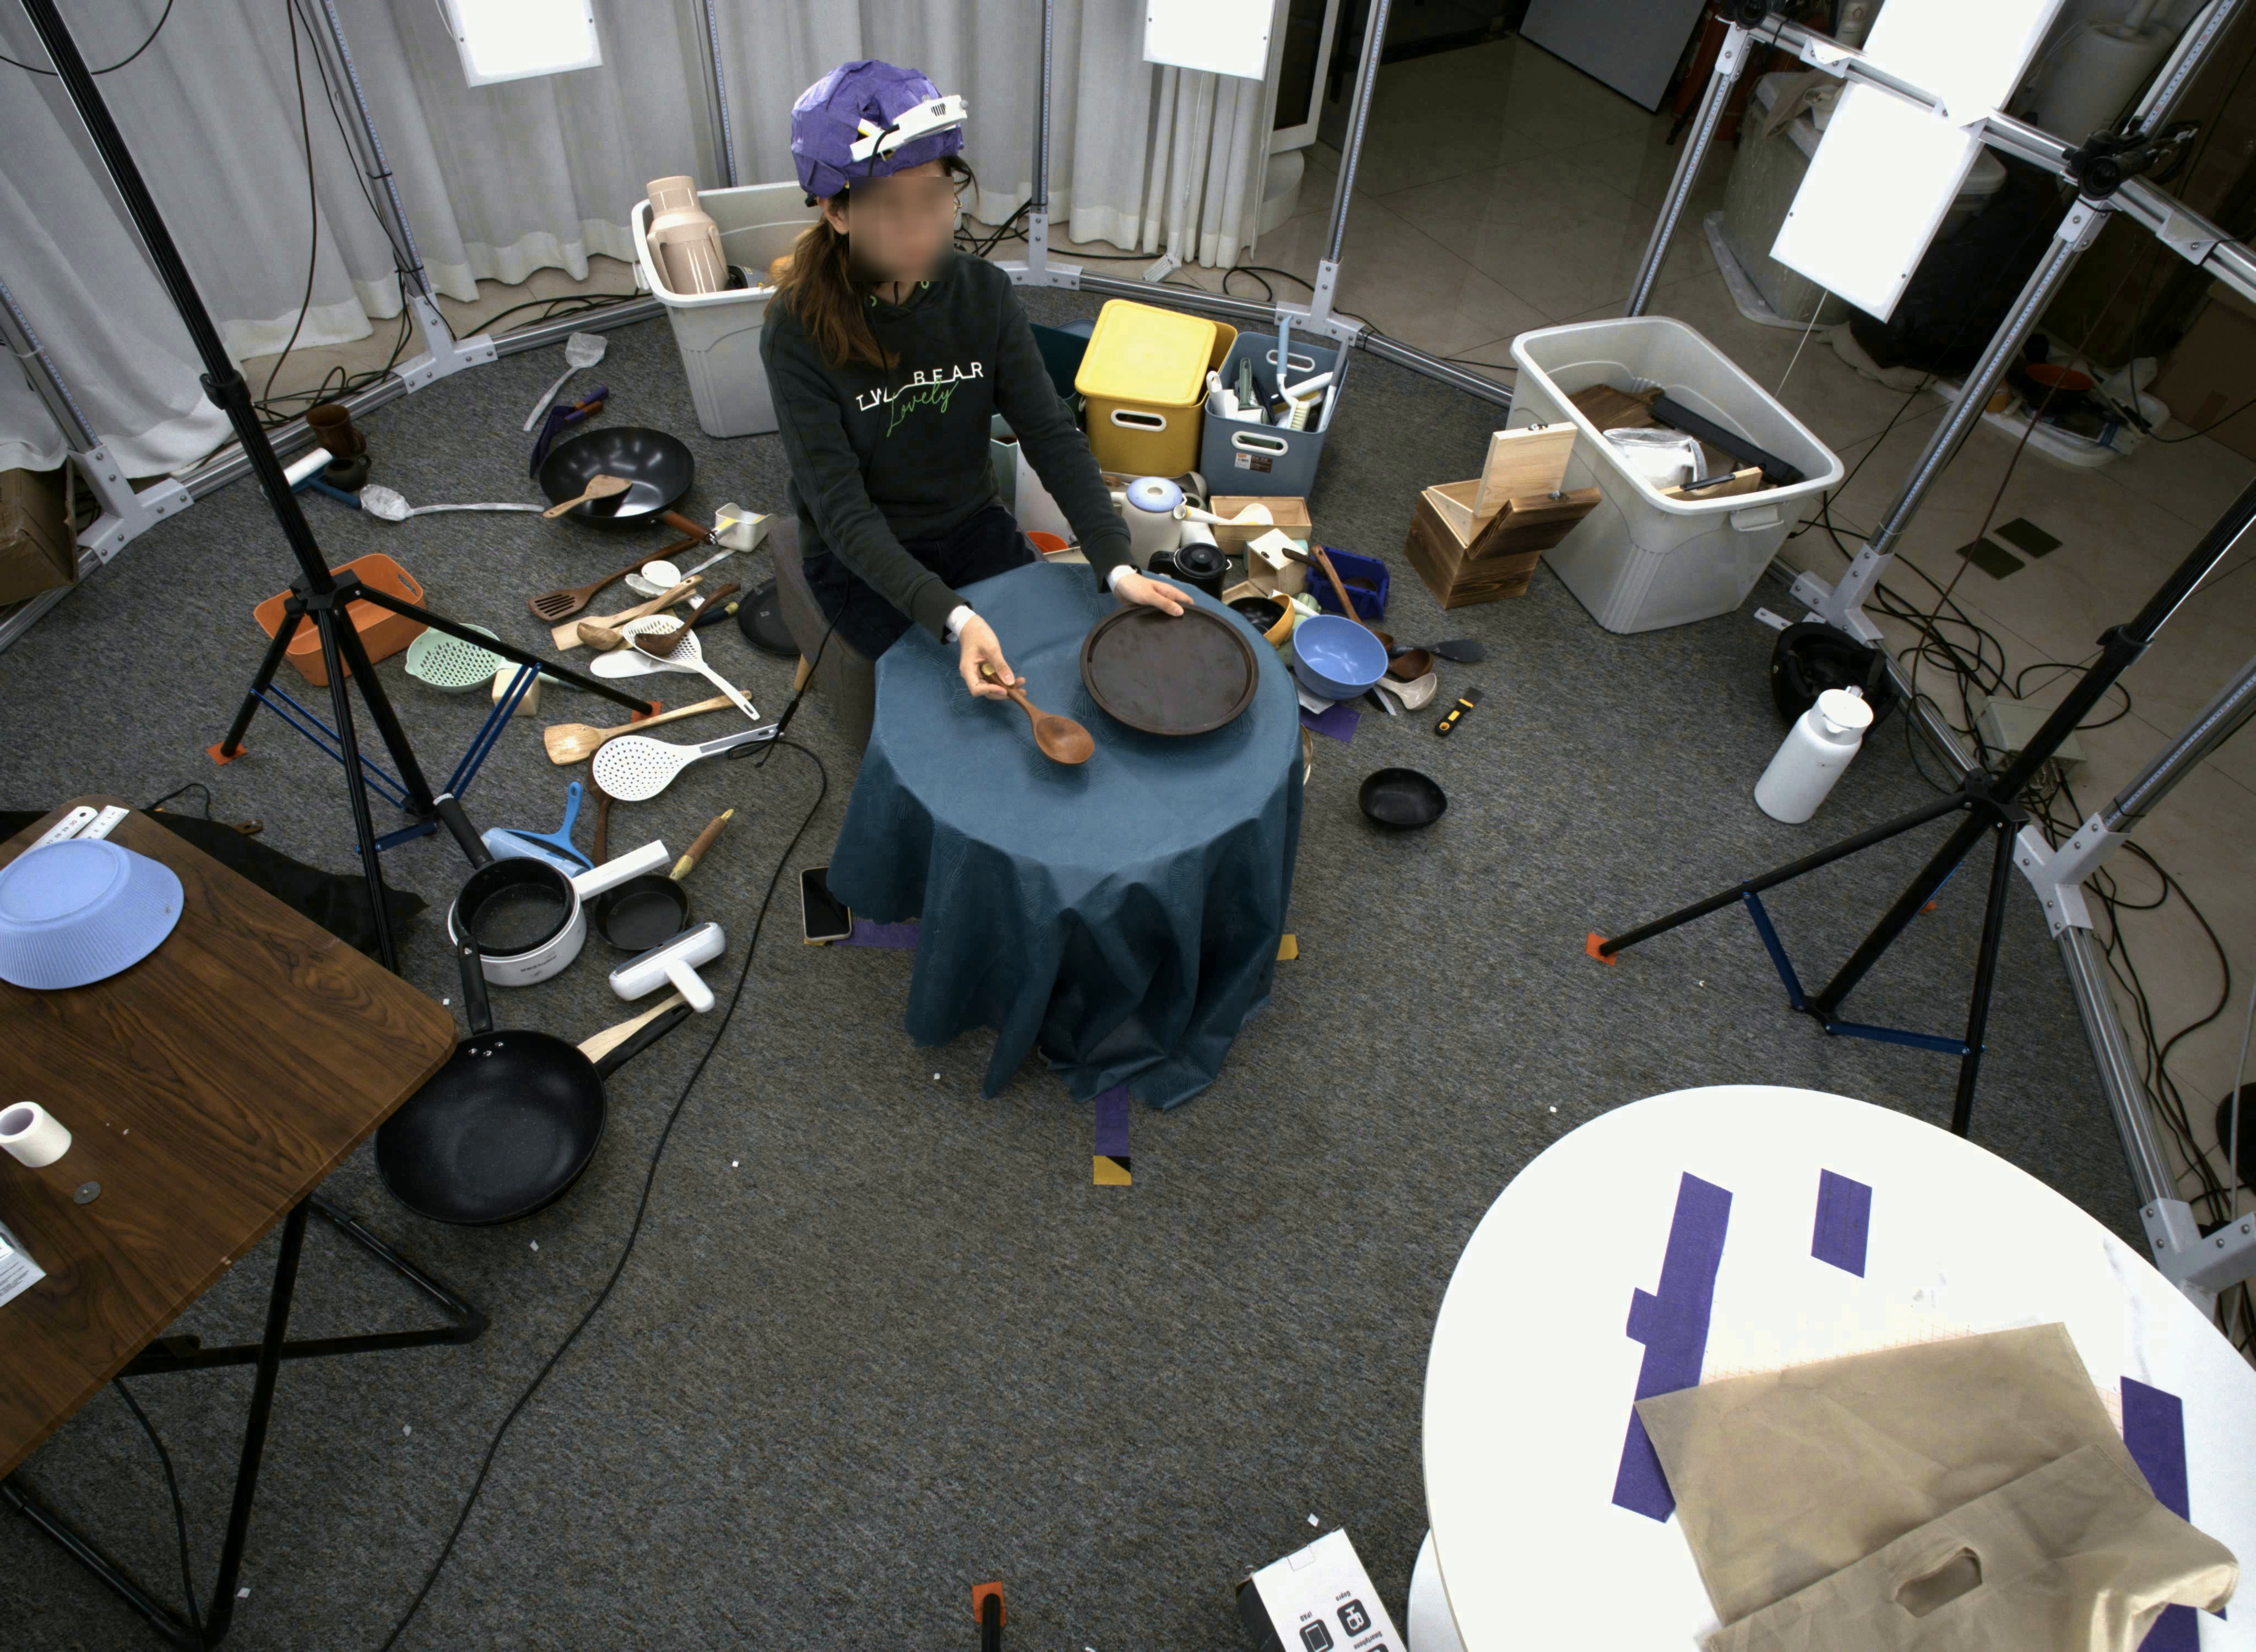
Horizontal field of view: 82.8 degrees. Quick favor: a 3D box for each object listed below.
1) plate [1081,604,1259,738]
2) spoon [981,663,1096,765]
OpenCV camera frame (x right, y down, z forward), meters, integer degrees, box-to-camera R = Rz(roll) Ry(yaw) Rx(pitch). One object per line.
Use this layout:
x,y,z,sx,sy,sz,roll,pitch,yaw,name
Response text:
0.059,-0.221,1.819,0.254,0.028,0.261,3,53,-4,plate
-0.127,-0.154,1.755,0.076,0.017,0.219,-31,63,-30,spoon
